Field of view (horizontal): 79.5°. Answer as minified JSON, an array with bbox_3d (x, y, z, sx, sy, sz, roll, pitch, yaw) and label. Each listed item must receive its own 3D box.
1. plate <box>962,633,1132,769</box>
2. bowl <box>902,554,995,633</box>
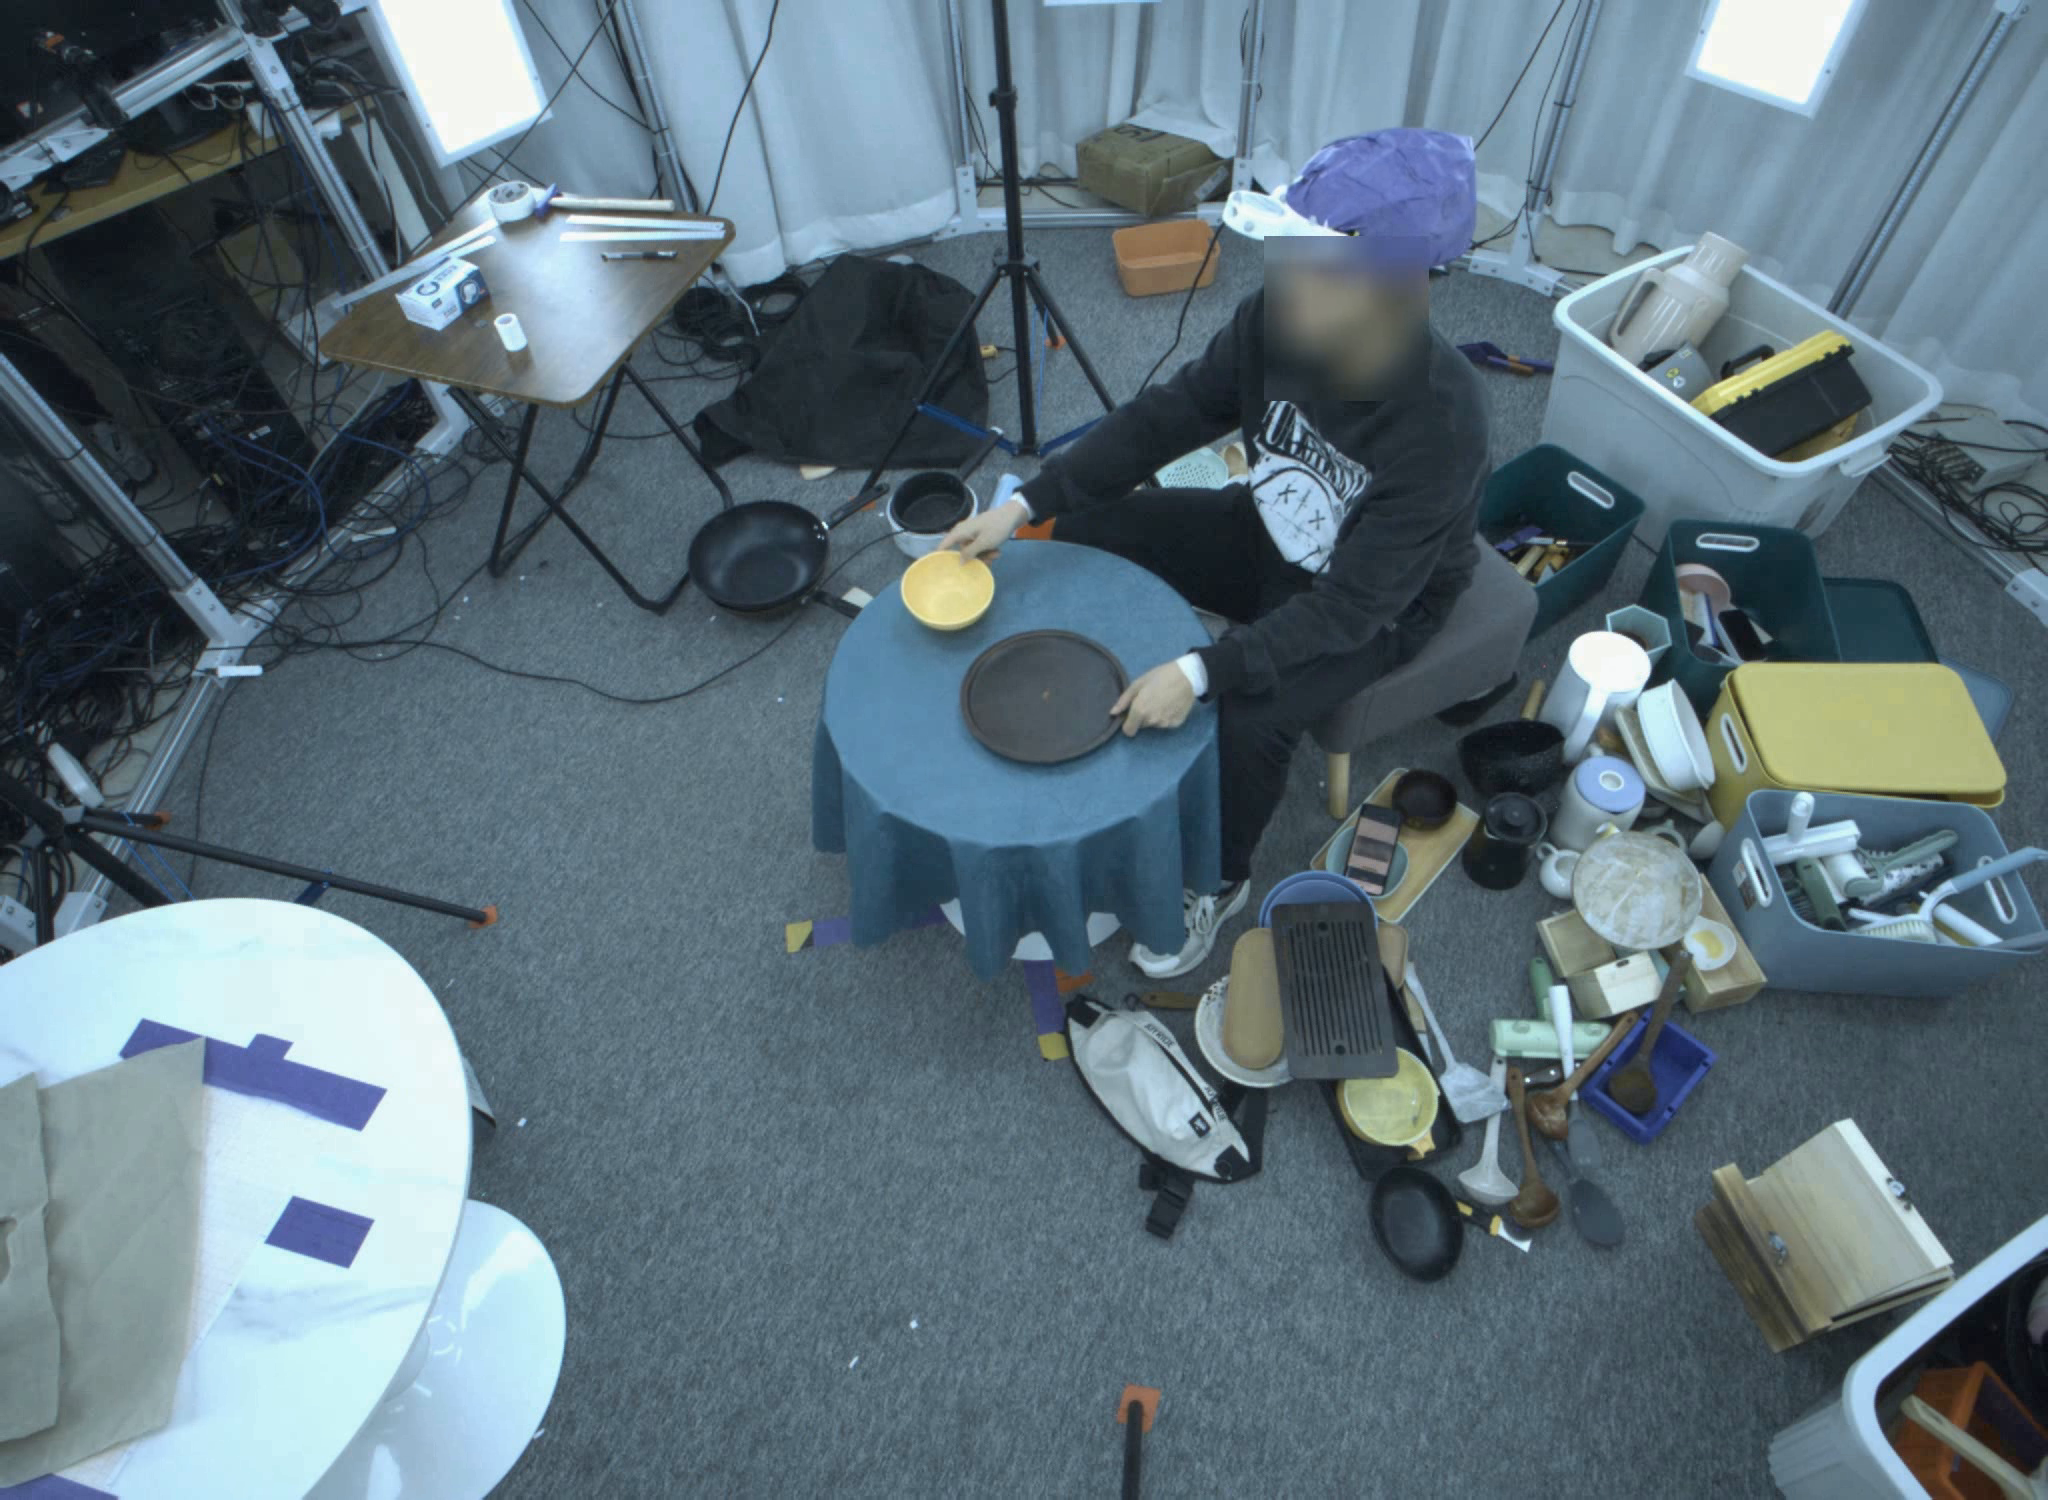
[{"bbox_3d":[0.034,-0.074,1.835,0.254,0.029,0.252,0,53,2],"label":"plate"},{"bbox_3d":[-0.119,-0.235,1.928,0.145,0.060,0.144,2,60,-2],"label":"bowl"}]
